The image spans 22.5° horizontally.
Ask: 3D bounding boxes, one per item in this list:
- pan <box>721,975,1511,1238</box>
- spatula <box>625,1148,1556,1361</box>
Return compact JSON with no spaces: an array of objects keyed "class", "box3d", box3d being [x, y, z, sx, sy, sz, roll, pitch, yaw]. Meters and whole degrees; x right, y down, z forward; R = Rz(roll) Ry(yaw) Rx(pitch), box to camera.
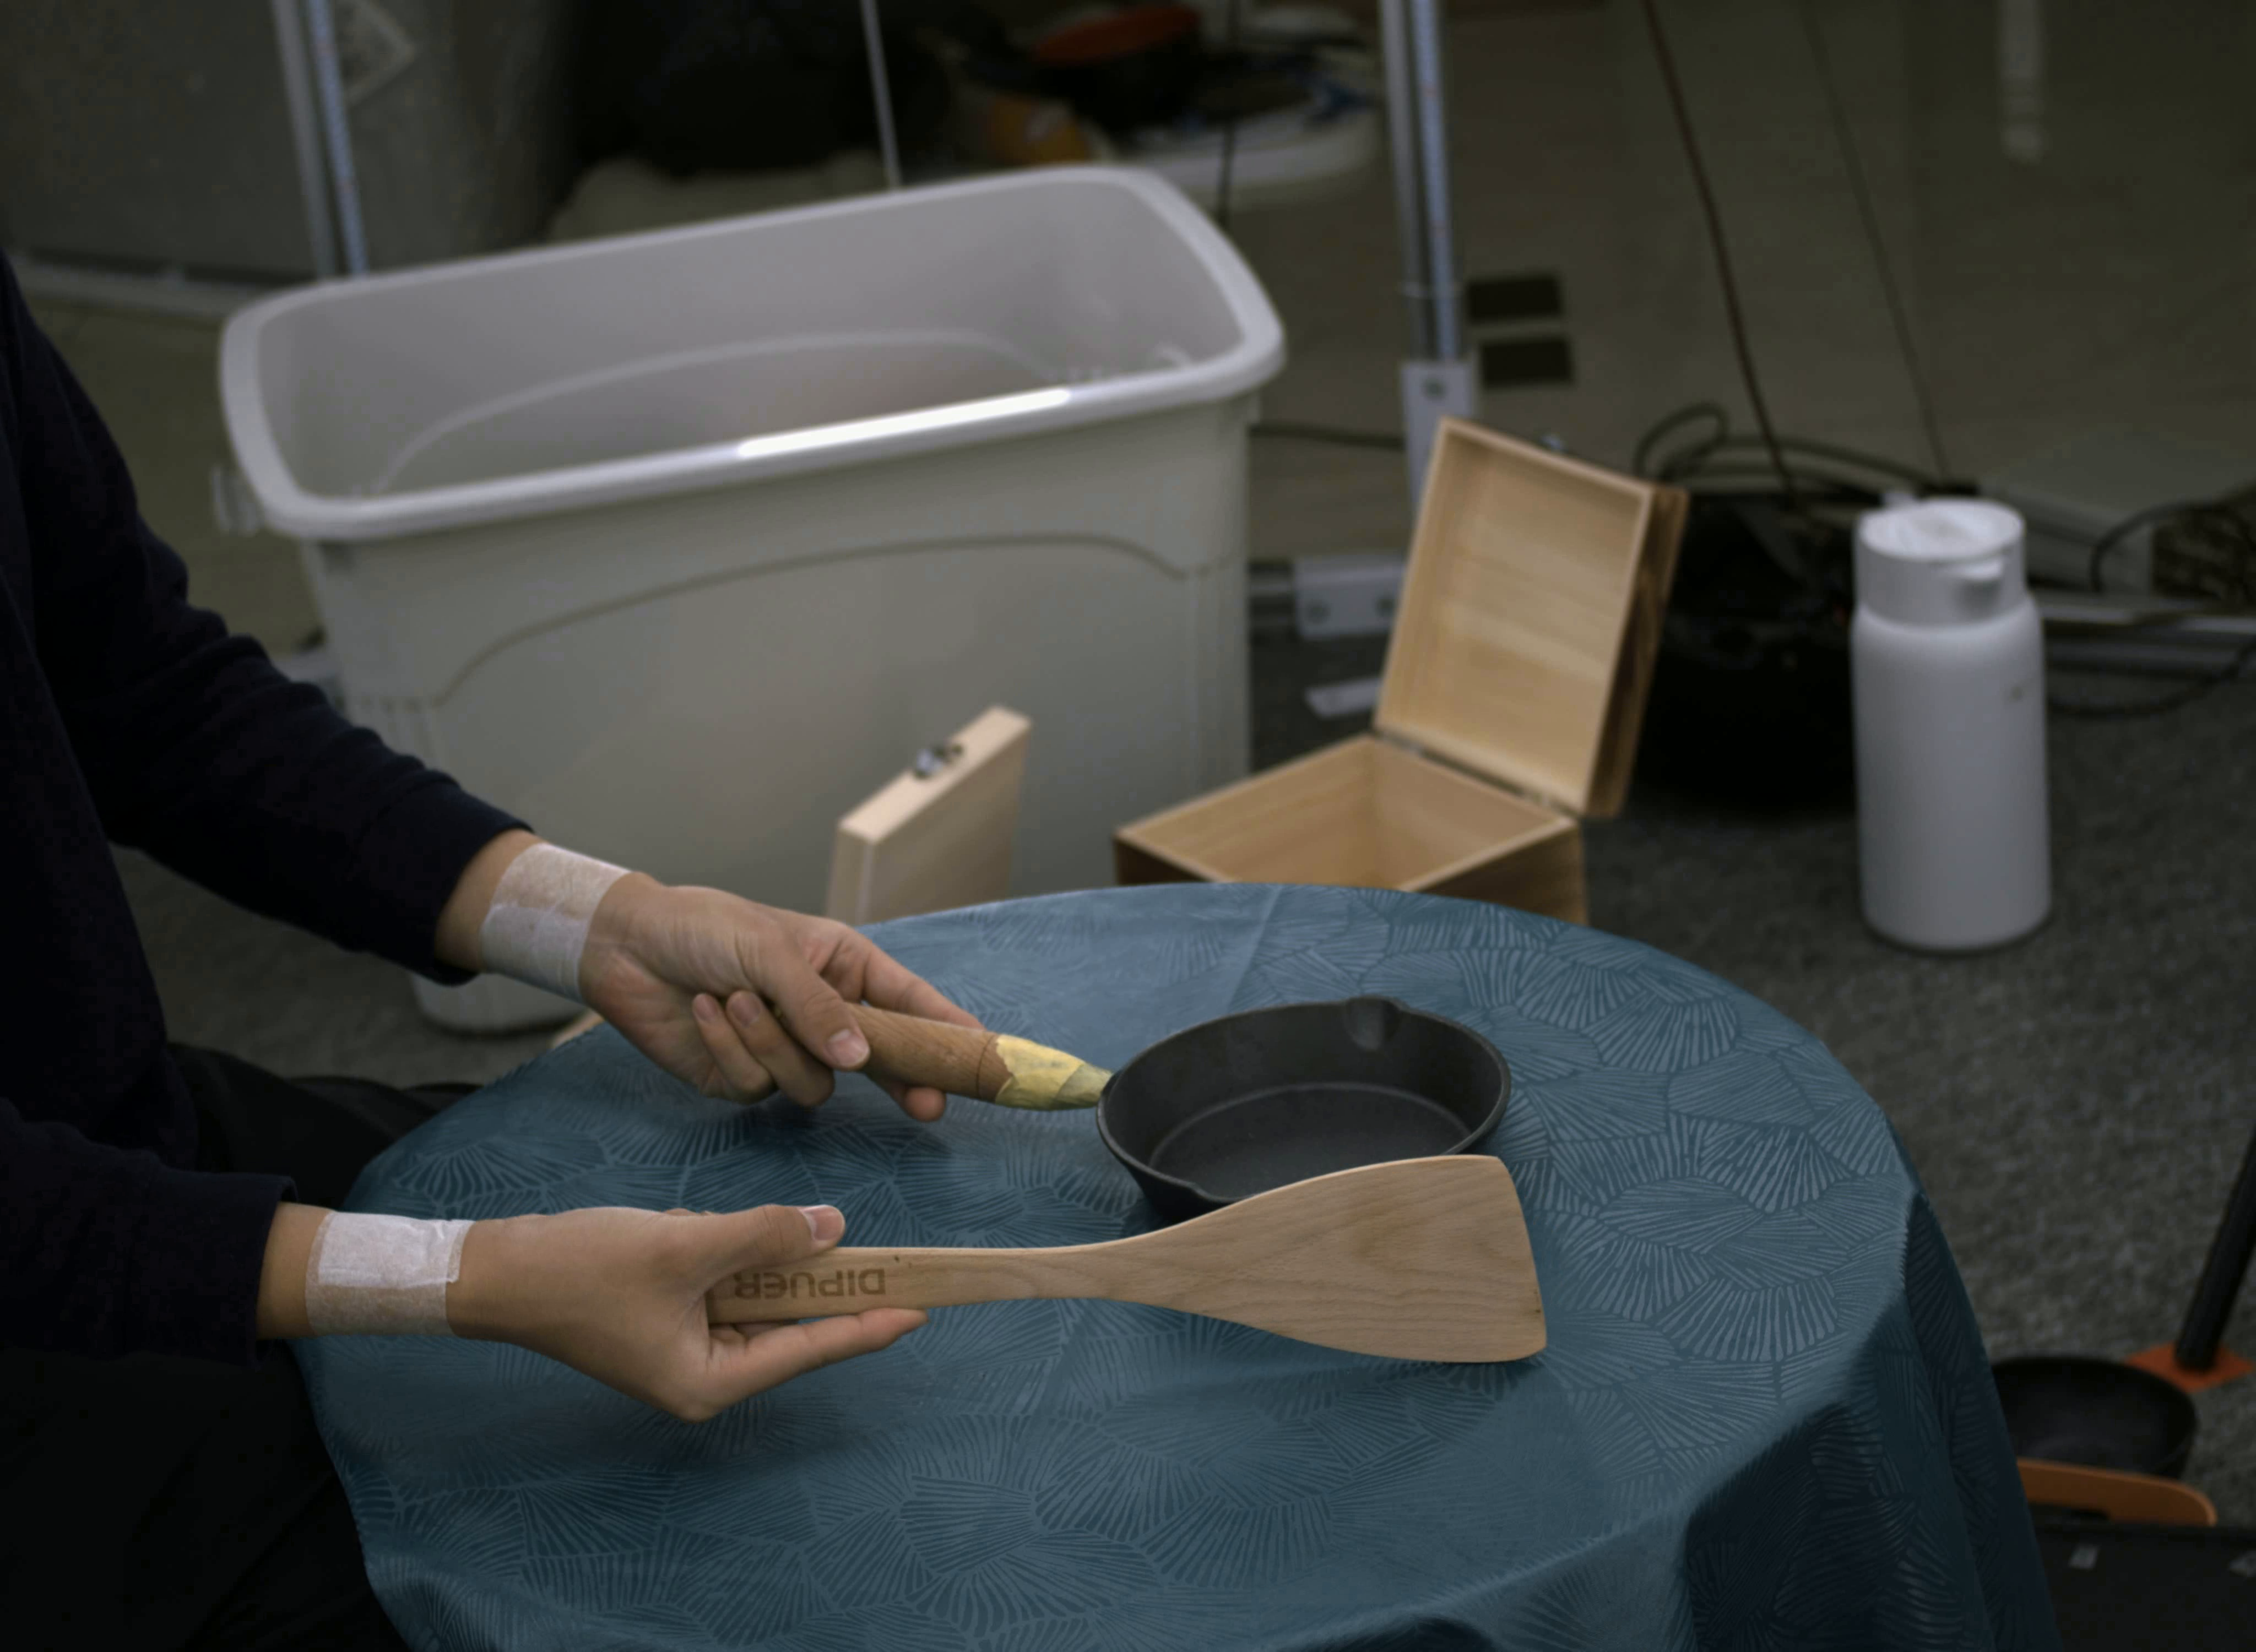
[{"class":"pan","box3d":[-0.010,0.100,2.173,0.323,0.050,0.167,7,29,24]},{"class":"spatula","box3d":[-0.014,0.157,1.997,0.327,0.081,0.016,-3,18,0]}]
